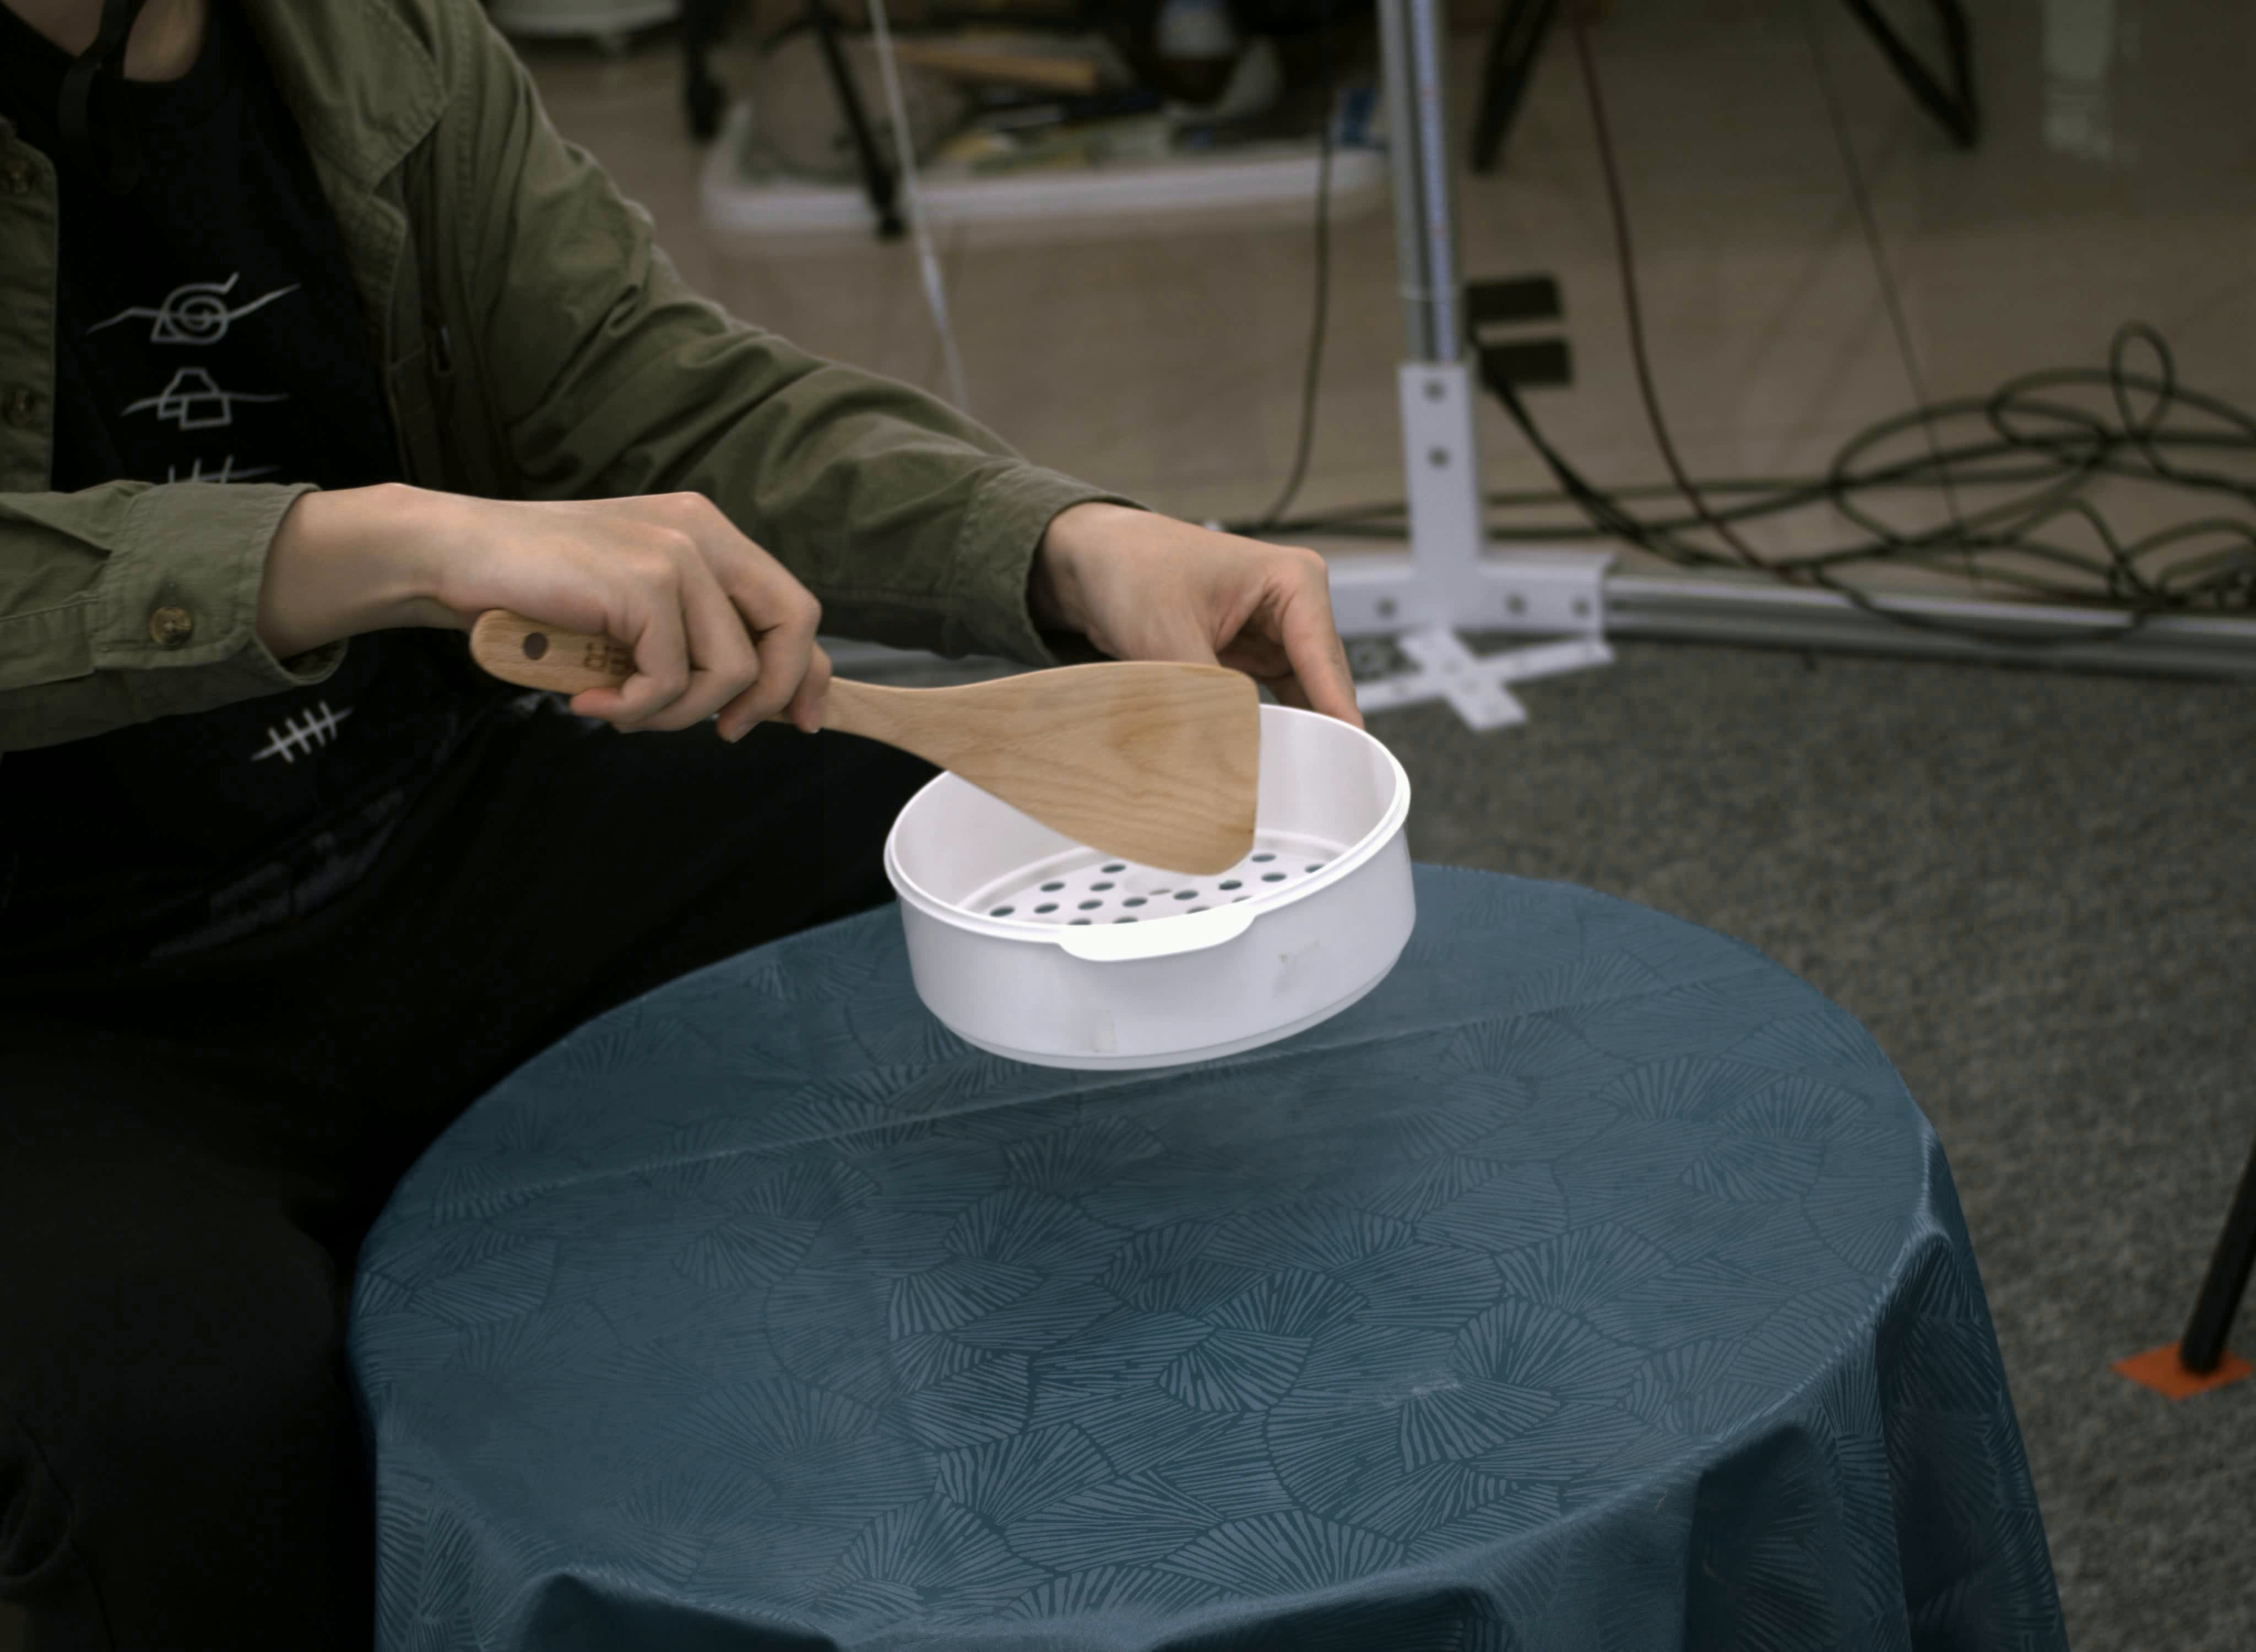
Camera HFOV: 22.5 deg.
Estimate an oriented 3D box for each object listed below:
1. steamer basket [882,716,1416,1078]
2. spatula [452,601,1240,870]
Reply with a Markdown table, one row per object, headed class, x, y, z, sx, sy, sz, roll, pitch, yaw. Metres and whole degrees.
| class | x | y | z | sx | sy | sz | roll | pitch | yaw |
| --- | --- | --- | --- | --- | --- | --- | --- | --- | --- |
| steamer basket | 0.011 | 0.027 | 2.145 | 0.201 | 0.070 | 0.227 | -7 | 24 | 2 |
| spatula | -0.095 | -0.044 | 2.047 | 0.328 | 0.080 | 0.016 | 10 | 7 | -32 |
